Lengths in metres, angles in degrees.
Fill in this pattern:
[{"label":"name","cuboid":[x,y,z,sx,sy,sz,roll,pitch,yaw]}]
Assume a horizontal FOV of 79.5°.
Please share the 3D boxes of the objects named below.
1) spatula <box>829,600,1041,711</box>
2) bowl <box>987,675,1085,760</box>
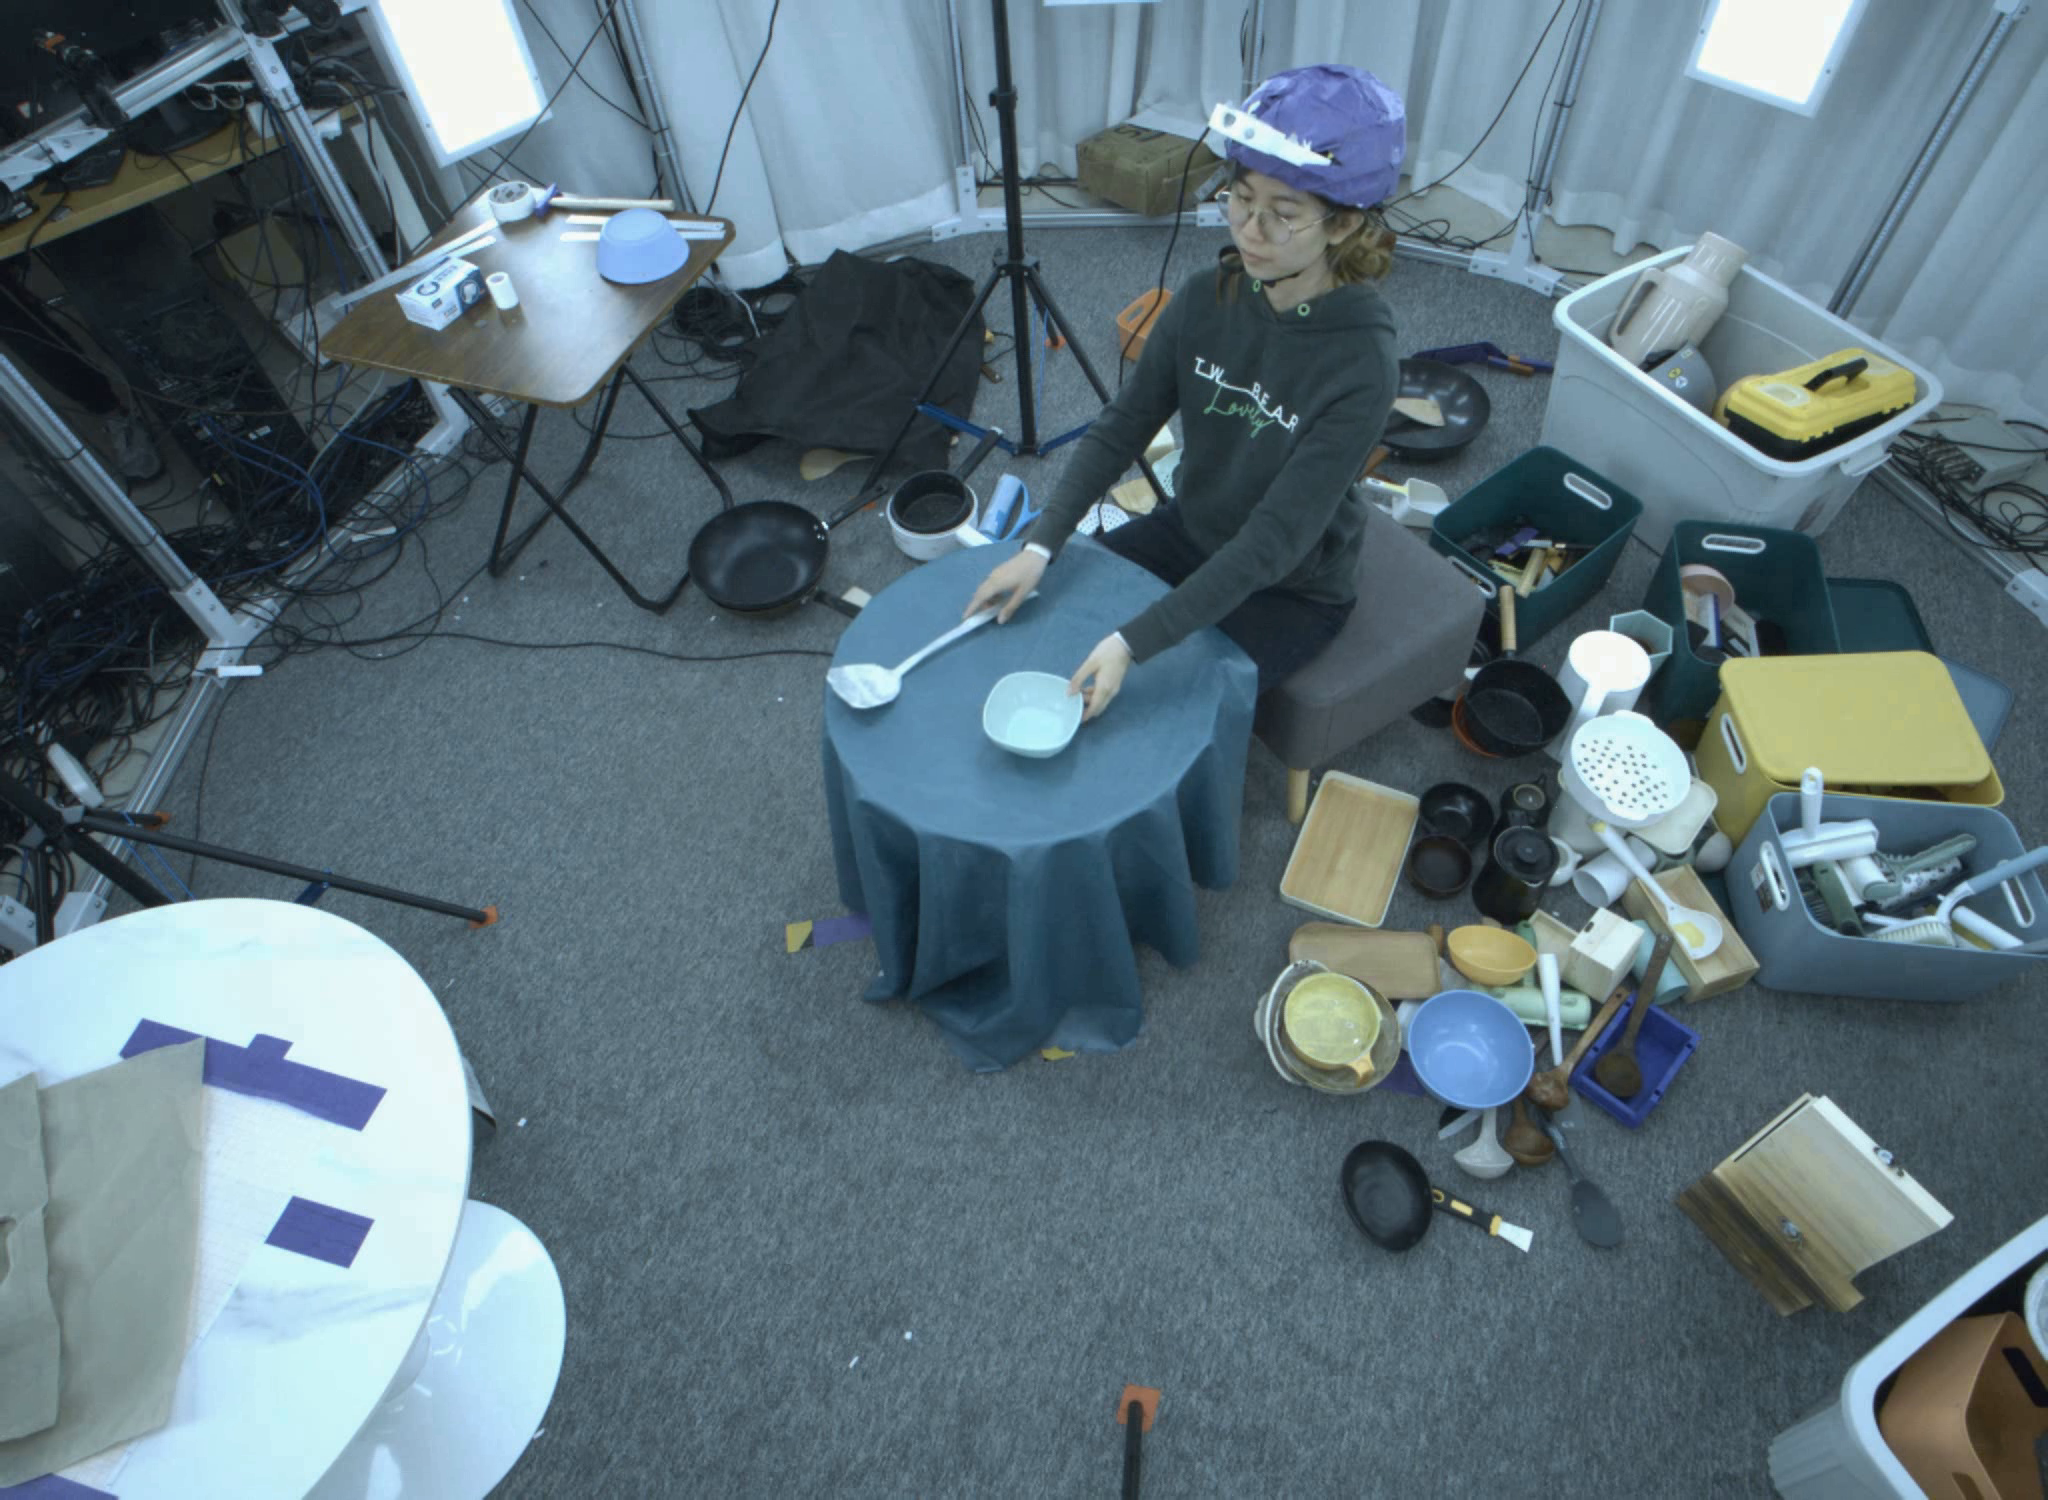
[{"label":"spatula","cuboid":[-0.128,-0.159,1.890,0.368,0.045,0.097,-32,58,-19]},{"label":"bowl","cuboid":[0.019,-0.036,1.789,0.151,0.059,0.150,-1,57,3]}]
